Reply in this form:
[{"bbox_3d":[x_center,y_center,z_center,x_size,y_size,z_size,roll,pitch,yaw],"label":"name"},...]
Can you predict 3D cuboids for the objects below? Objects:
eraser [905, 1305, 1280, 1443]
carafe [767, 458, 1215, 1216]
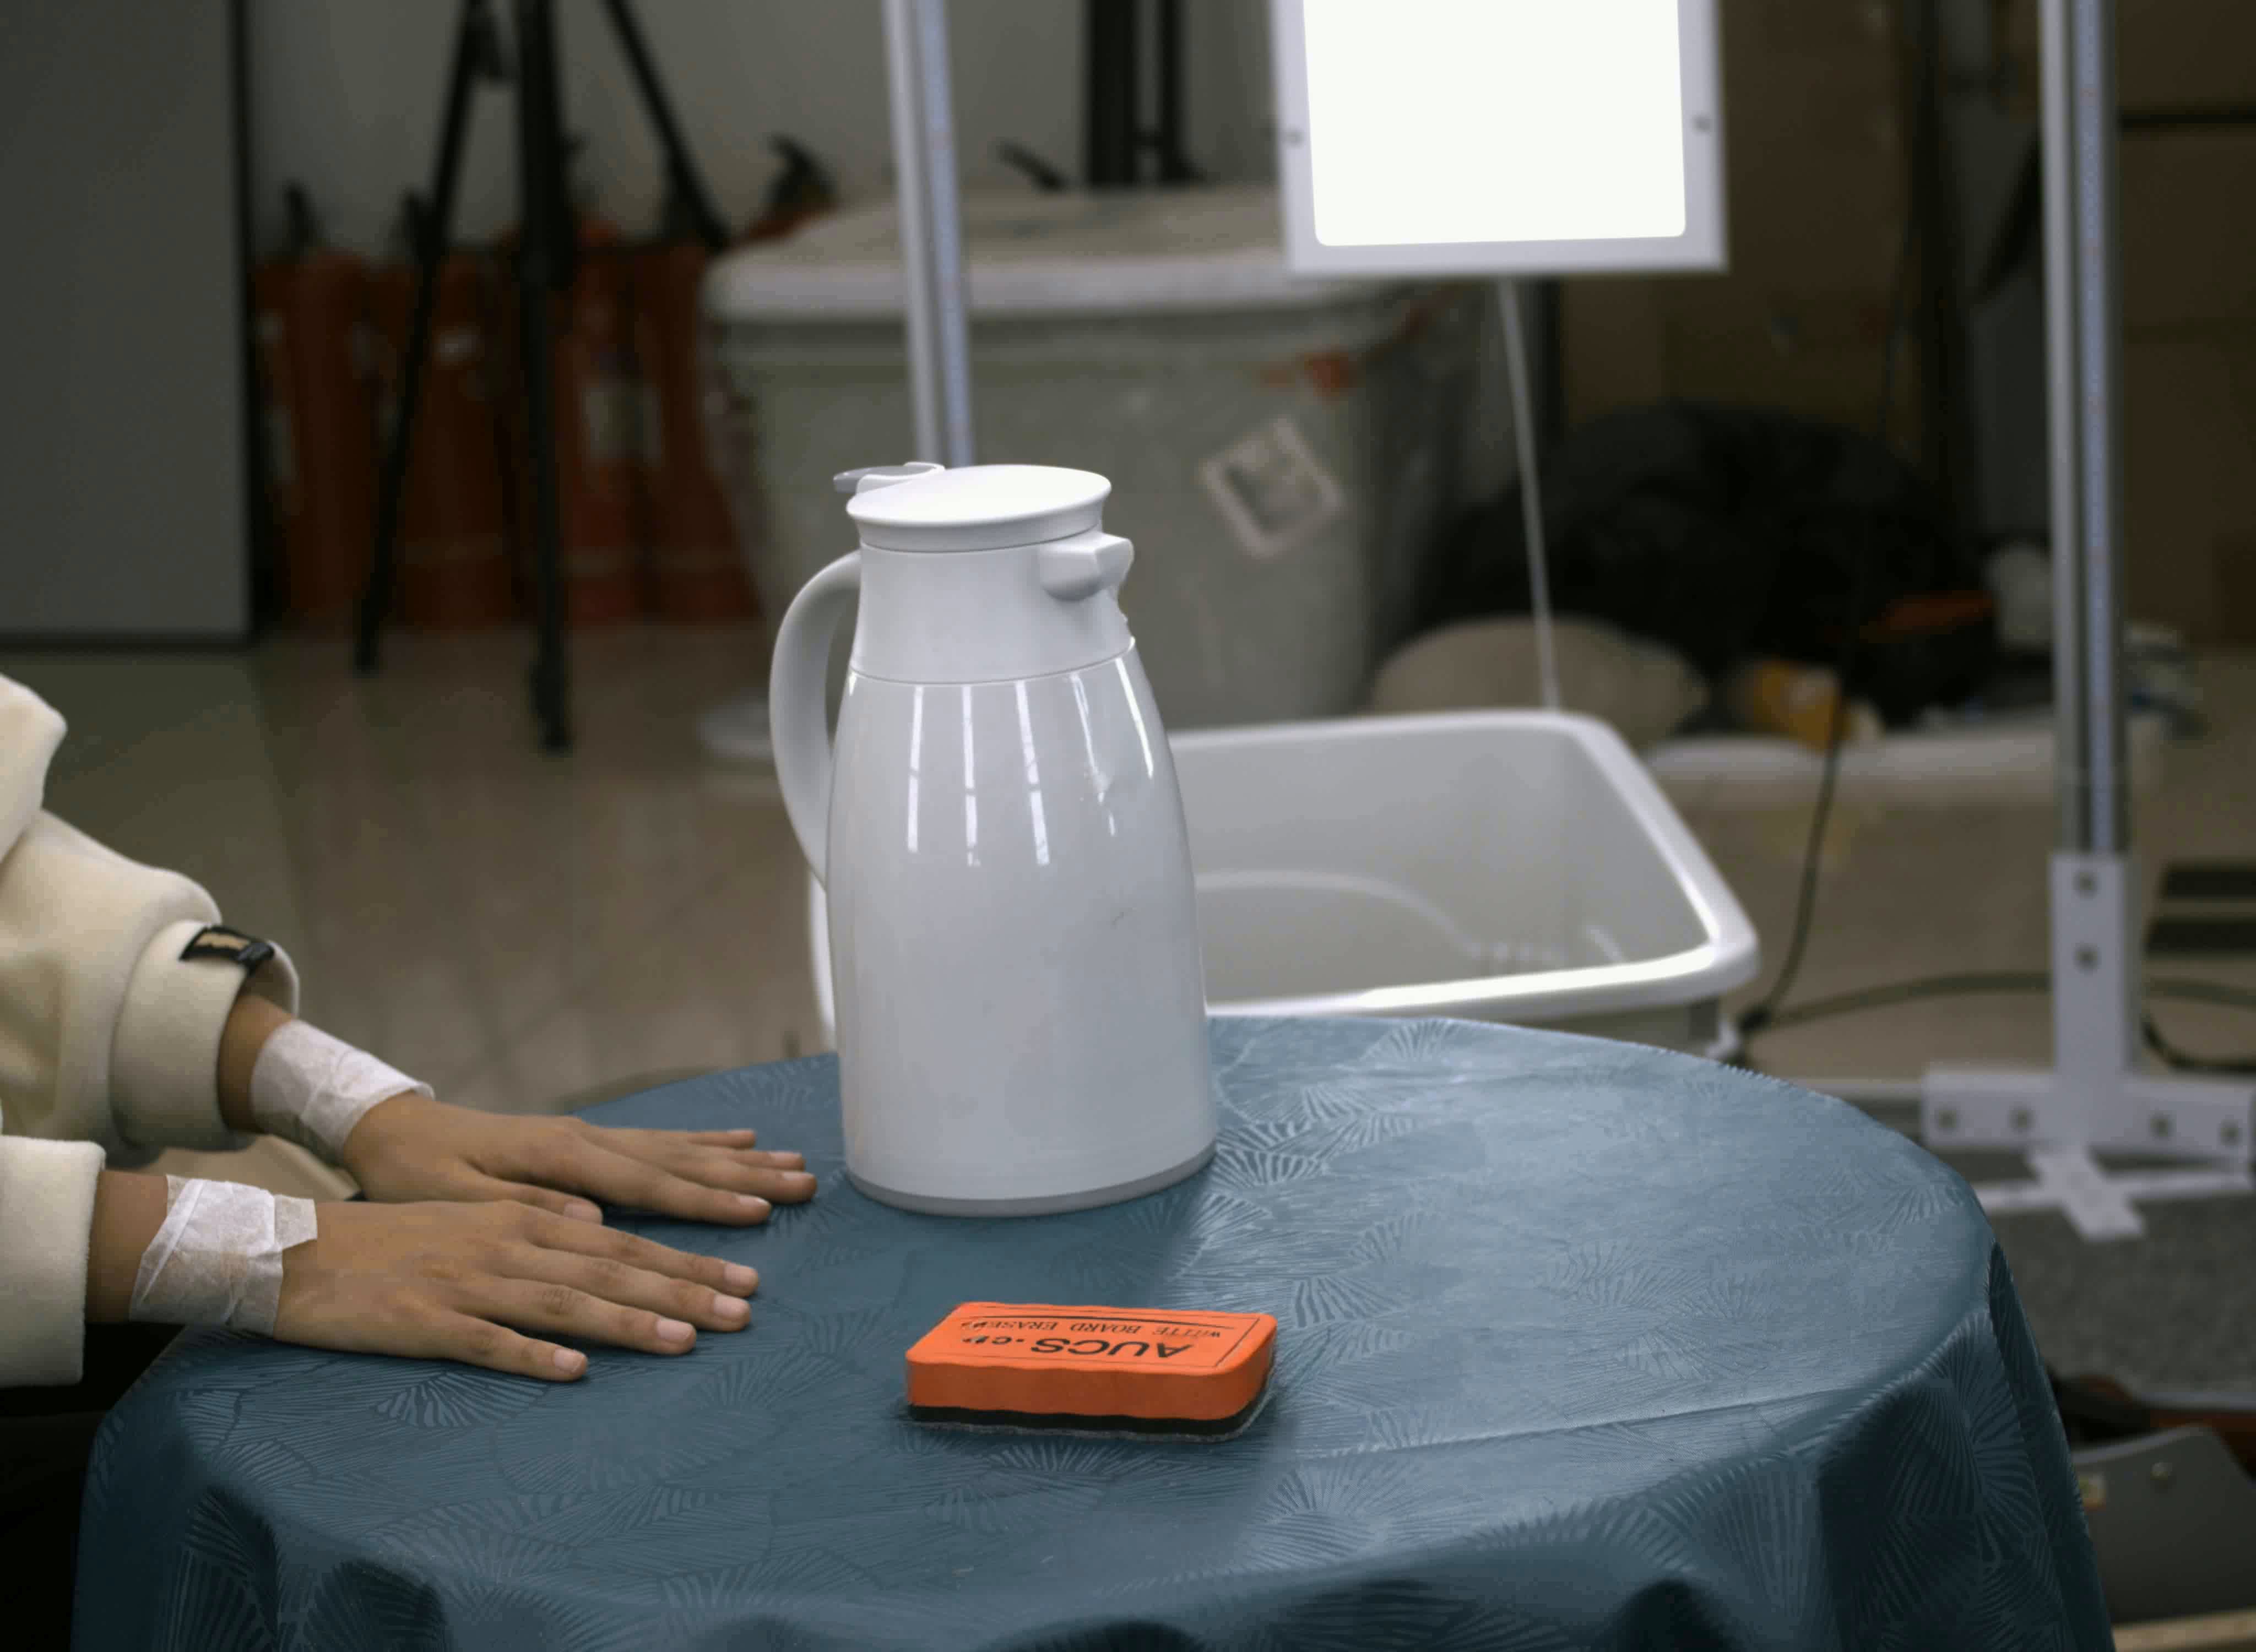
[{"bbox_3d":[-0.010,0.167,1.688,0.109,0.023,0.058,1,13,22],"label":"eraser"},{"bbox_3d":[-0.059,-0.004,1.927,0.171,0.249,0.129,7,18,42],"label":"carafe"}]
